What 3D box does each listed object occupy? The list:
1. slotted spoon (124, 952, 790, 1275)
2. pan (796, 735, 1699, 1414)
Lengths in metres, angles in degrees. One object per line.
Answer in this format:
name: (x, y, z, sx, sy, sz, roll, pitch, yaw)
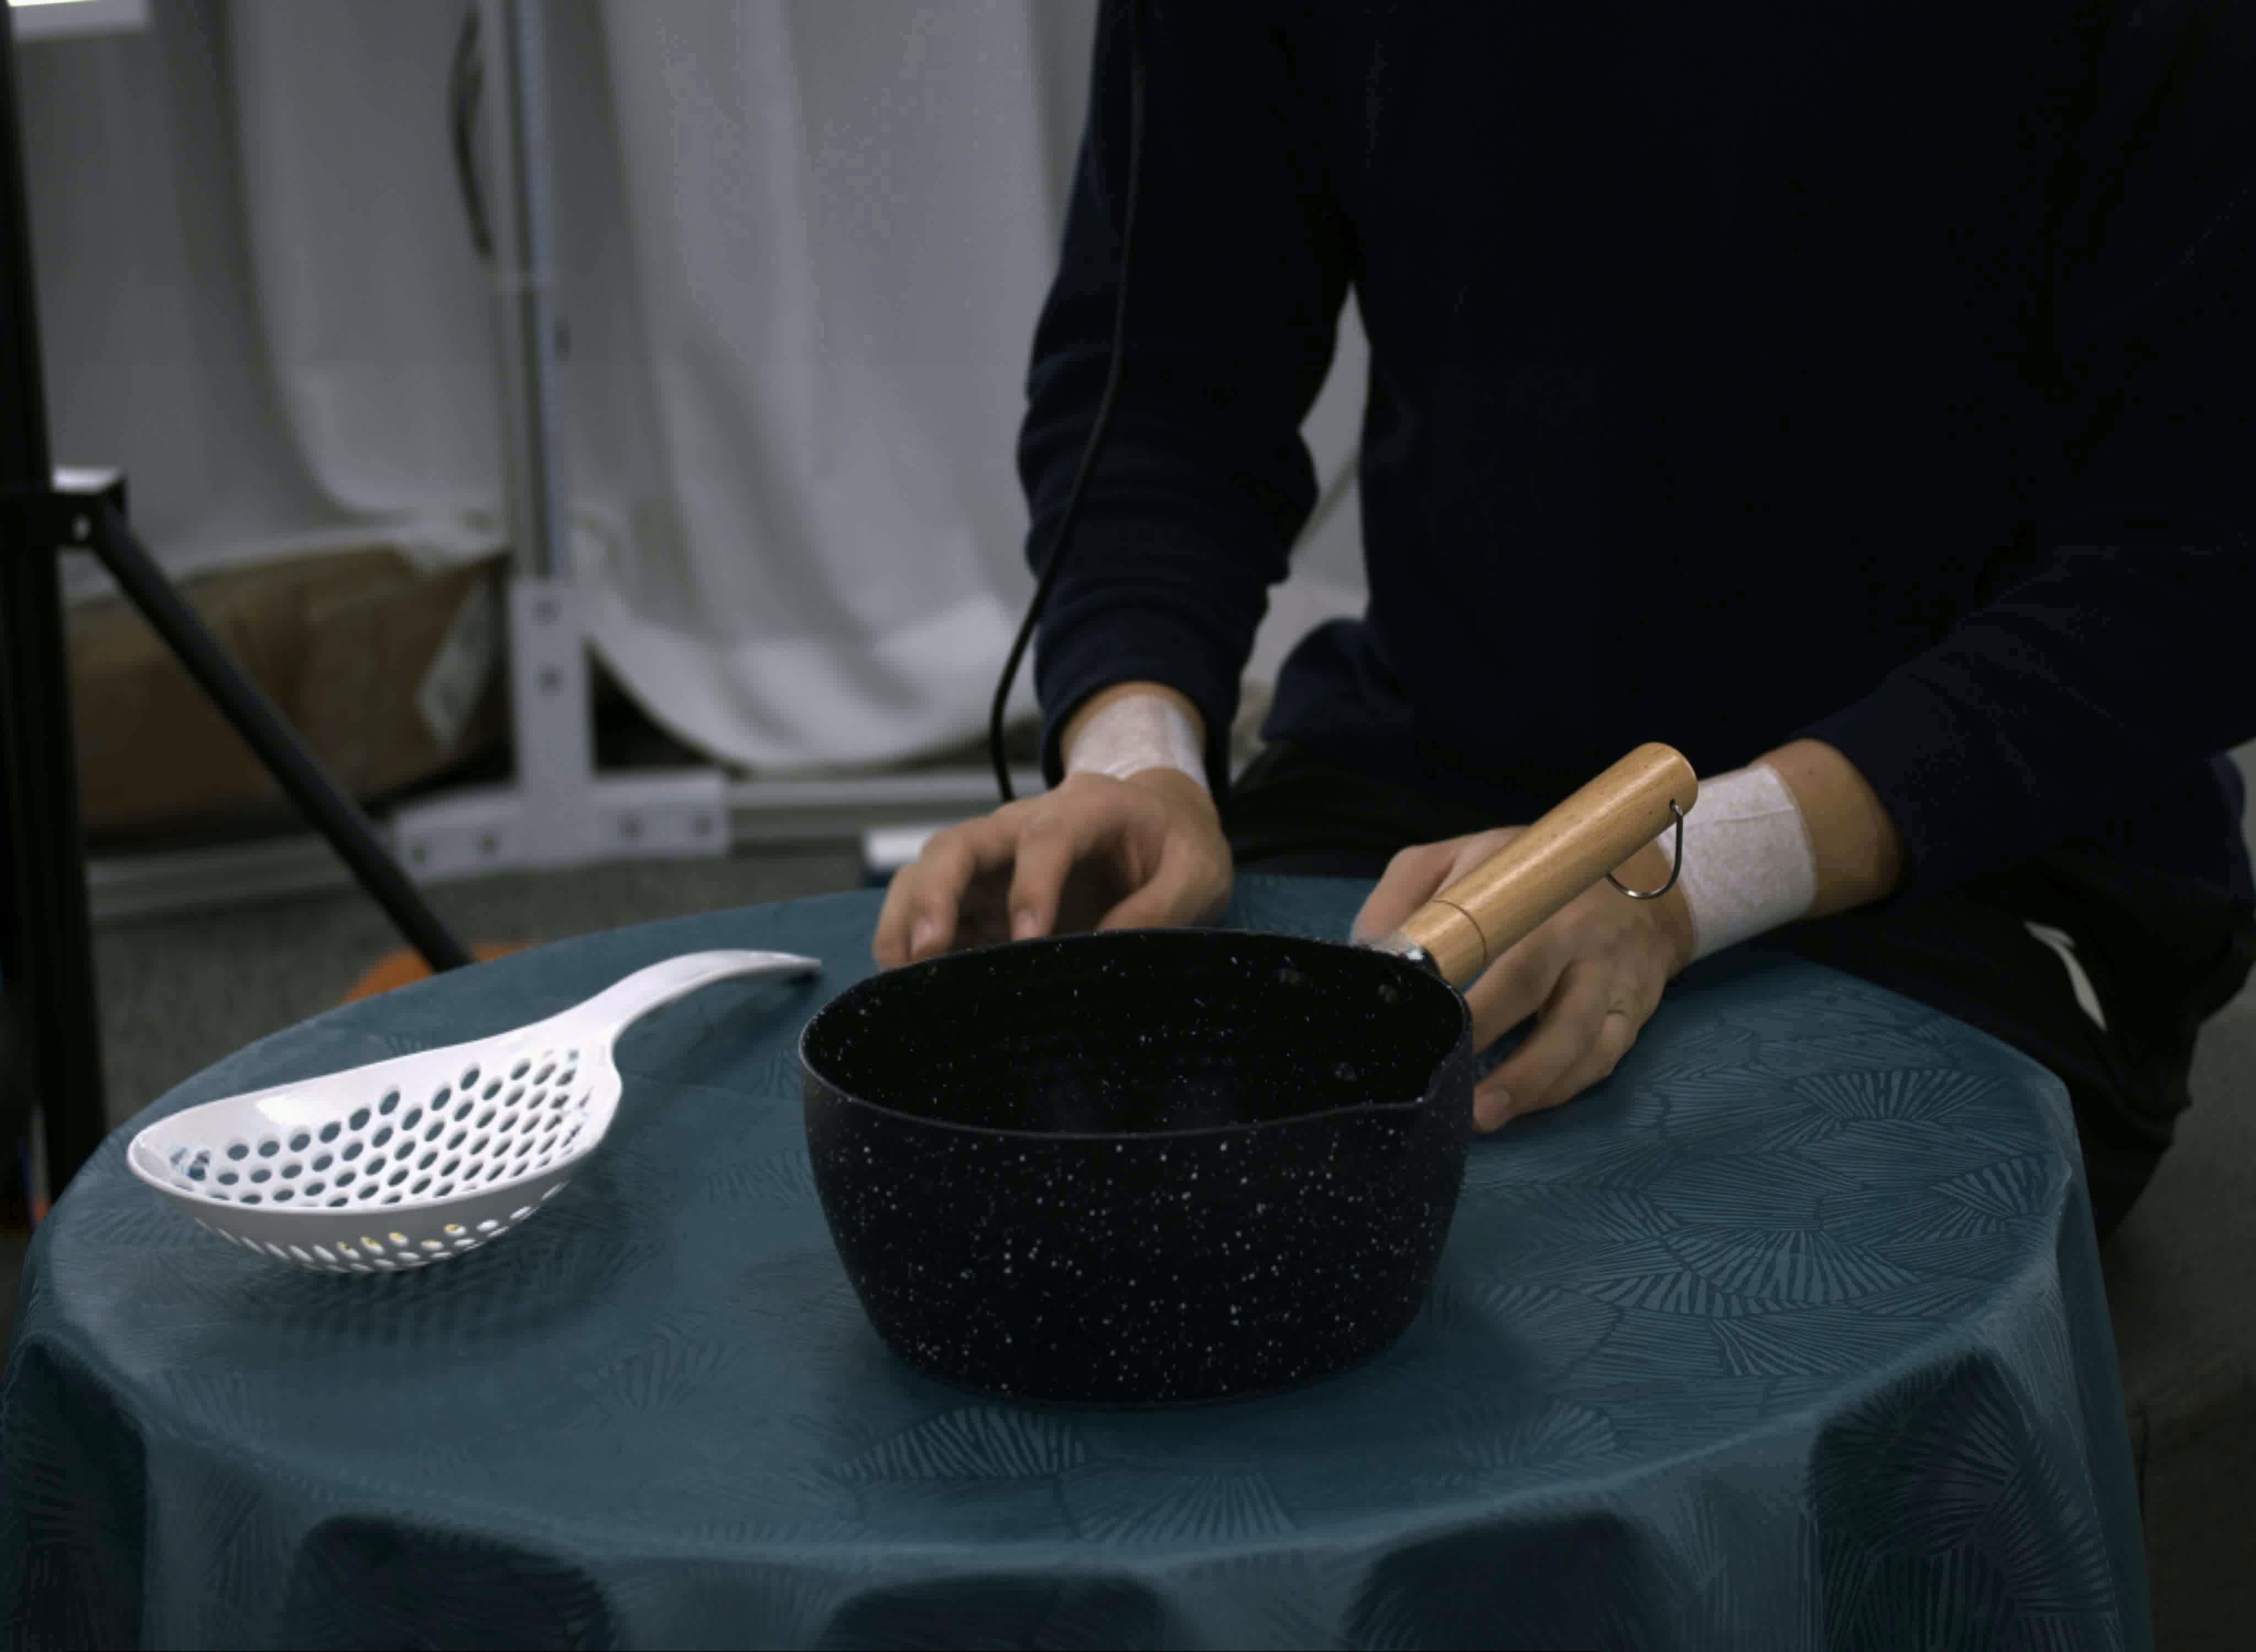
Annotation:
slotted spoon: (-0.175, 0.074, 1.627, 0.138, 0.050, 0.343, 2, 18, 22)
pan: (0.054, 0.065, 1.503, 0.212, 0.108, 0.335, 10, 21, 40)
